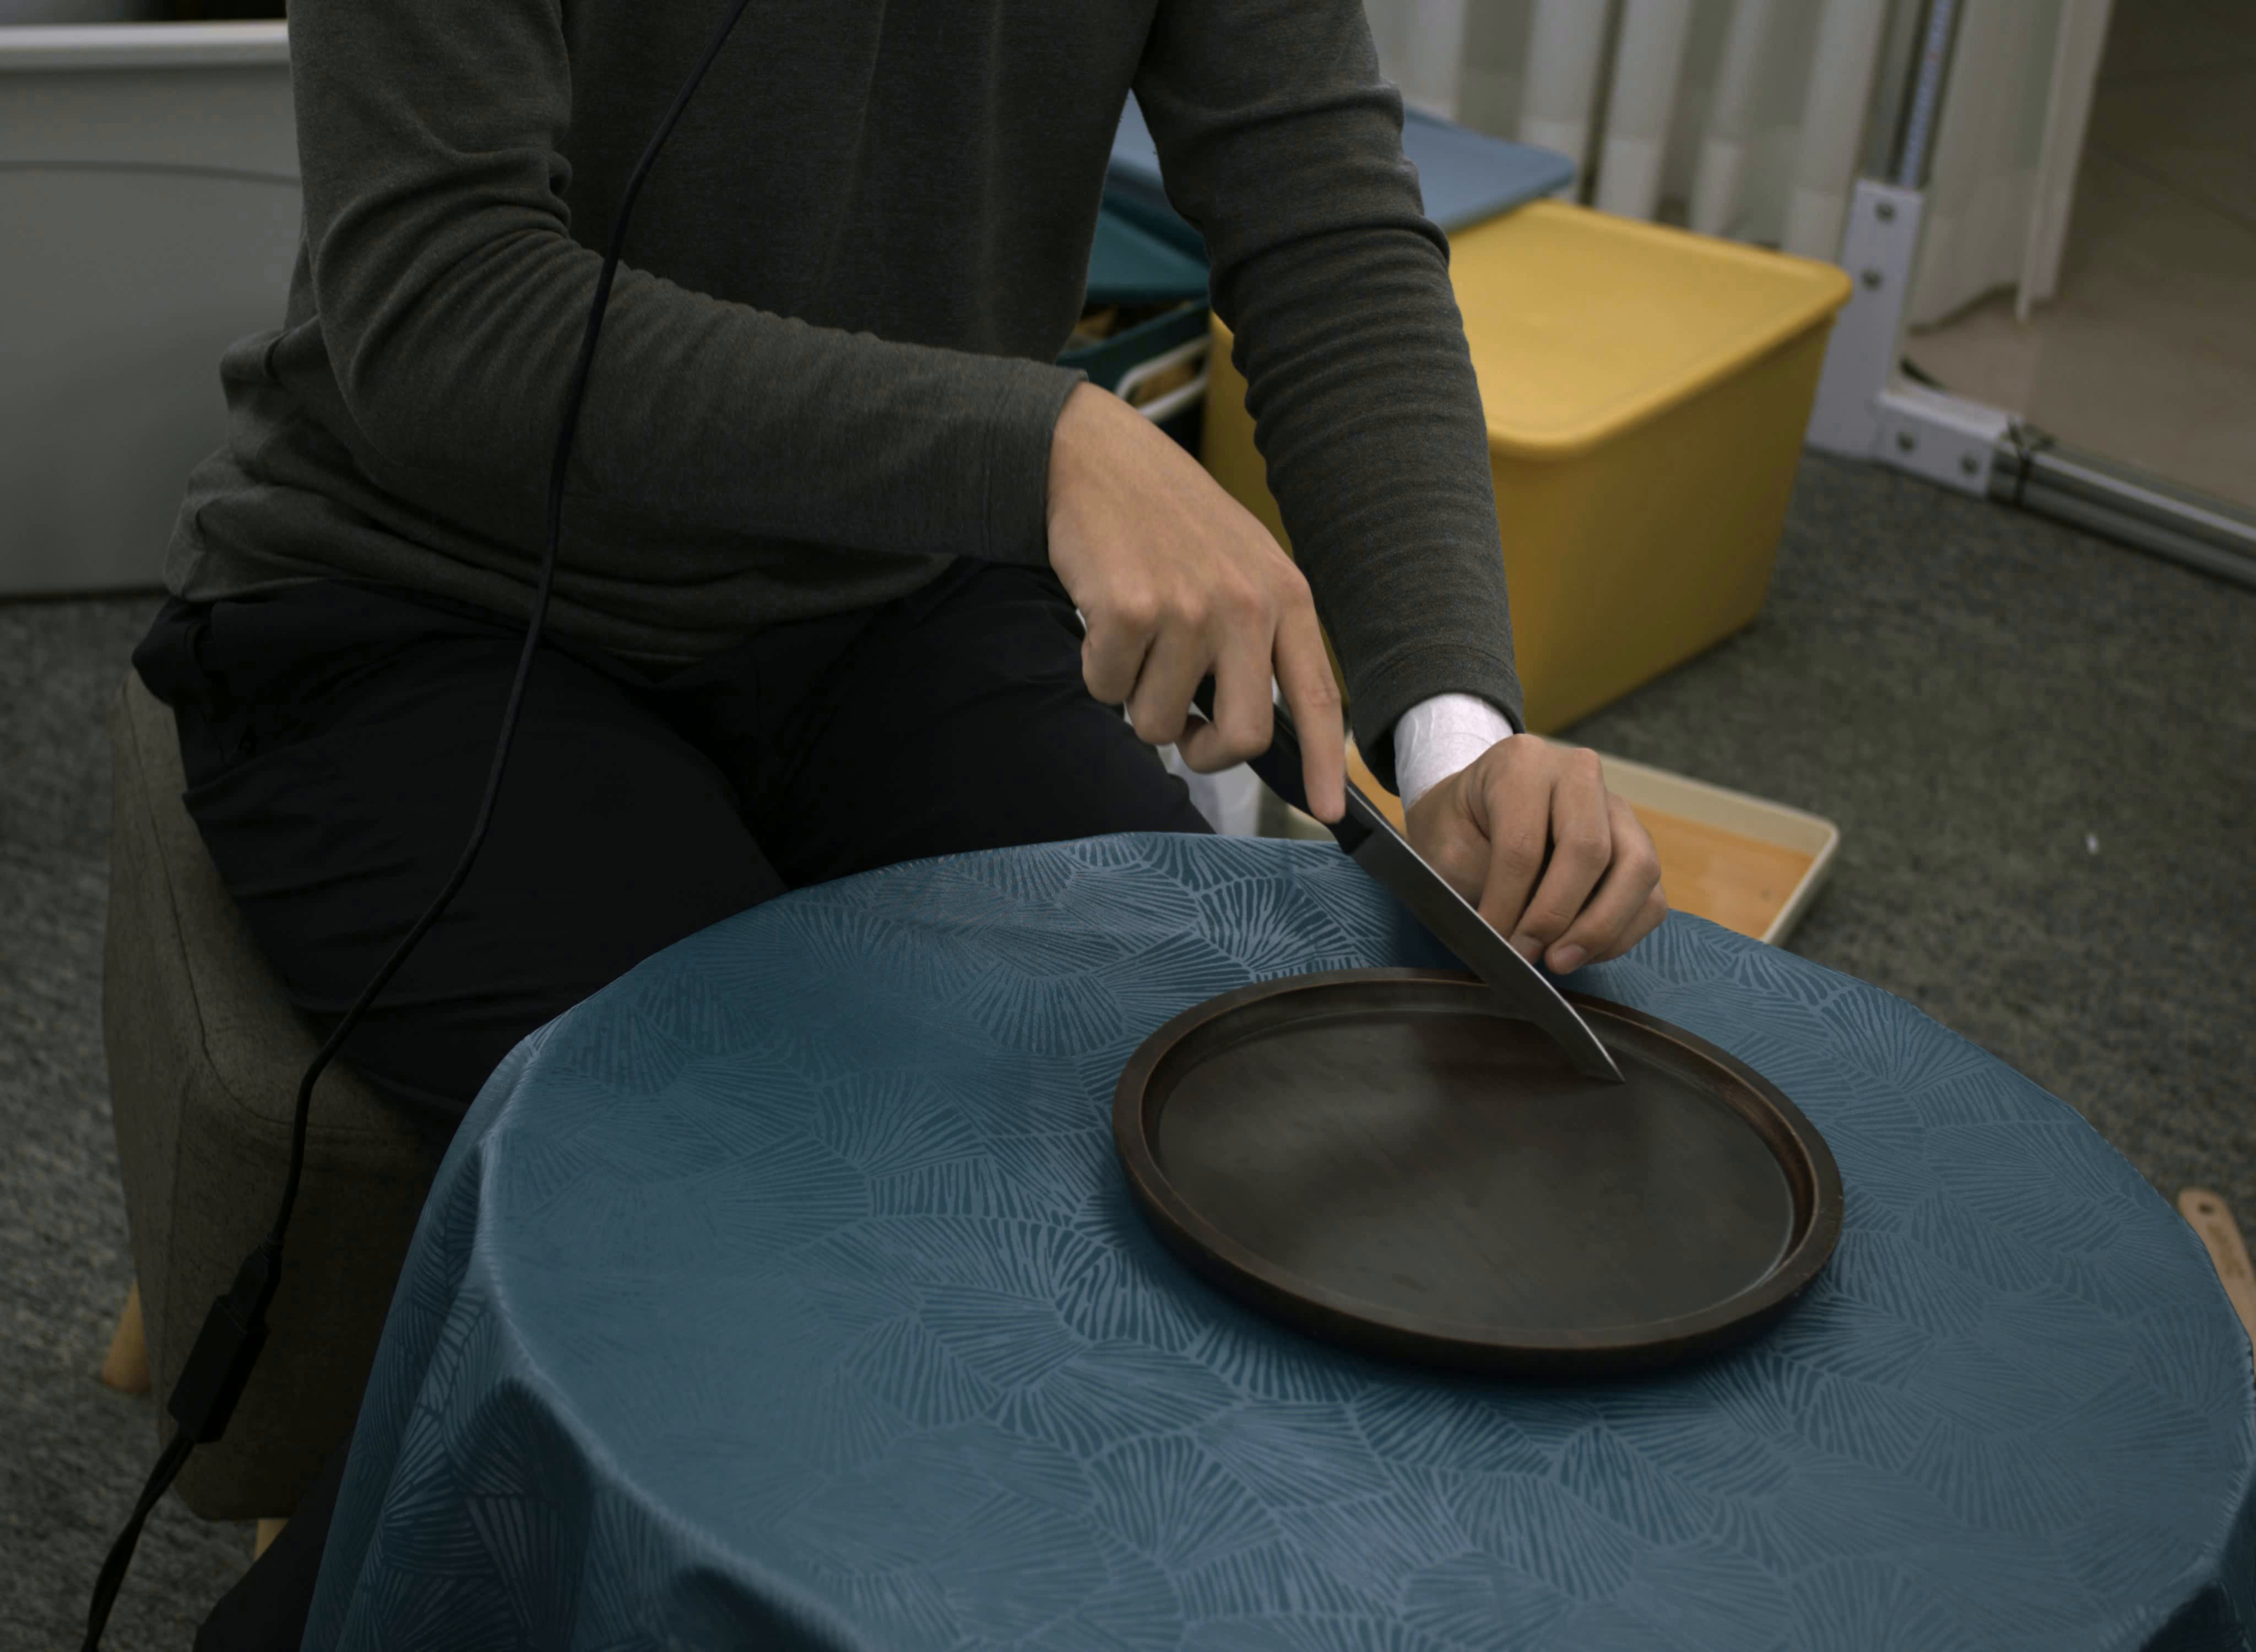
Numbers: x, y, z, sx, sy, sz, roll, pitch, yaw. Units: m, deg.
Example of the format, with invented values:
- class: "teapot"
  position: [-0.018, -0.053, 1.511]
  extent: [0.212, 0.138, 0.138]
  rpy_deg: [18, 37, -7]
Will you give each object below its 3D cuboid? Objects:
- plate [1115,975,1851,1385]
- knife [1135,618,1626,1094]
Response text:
- class: "plate"
  position: [0.120, 0.118, 1.818]
  extent: [0.254, 0.029, 0.256]
  rpy_deg: [6, 27, -3]
- class: "knife"
  position: [0.093, 0.010, 1.889]
  extent: [0.238, 0.024, 0.016]
  rpy_deg: [44, 32, 4]
